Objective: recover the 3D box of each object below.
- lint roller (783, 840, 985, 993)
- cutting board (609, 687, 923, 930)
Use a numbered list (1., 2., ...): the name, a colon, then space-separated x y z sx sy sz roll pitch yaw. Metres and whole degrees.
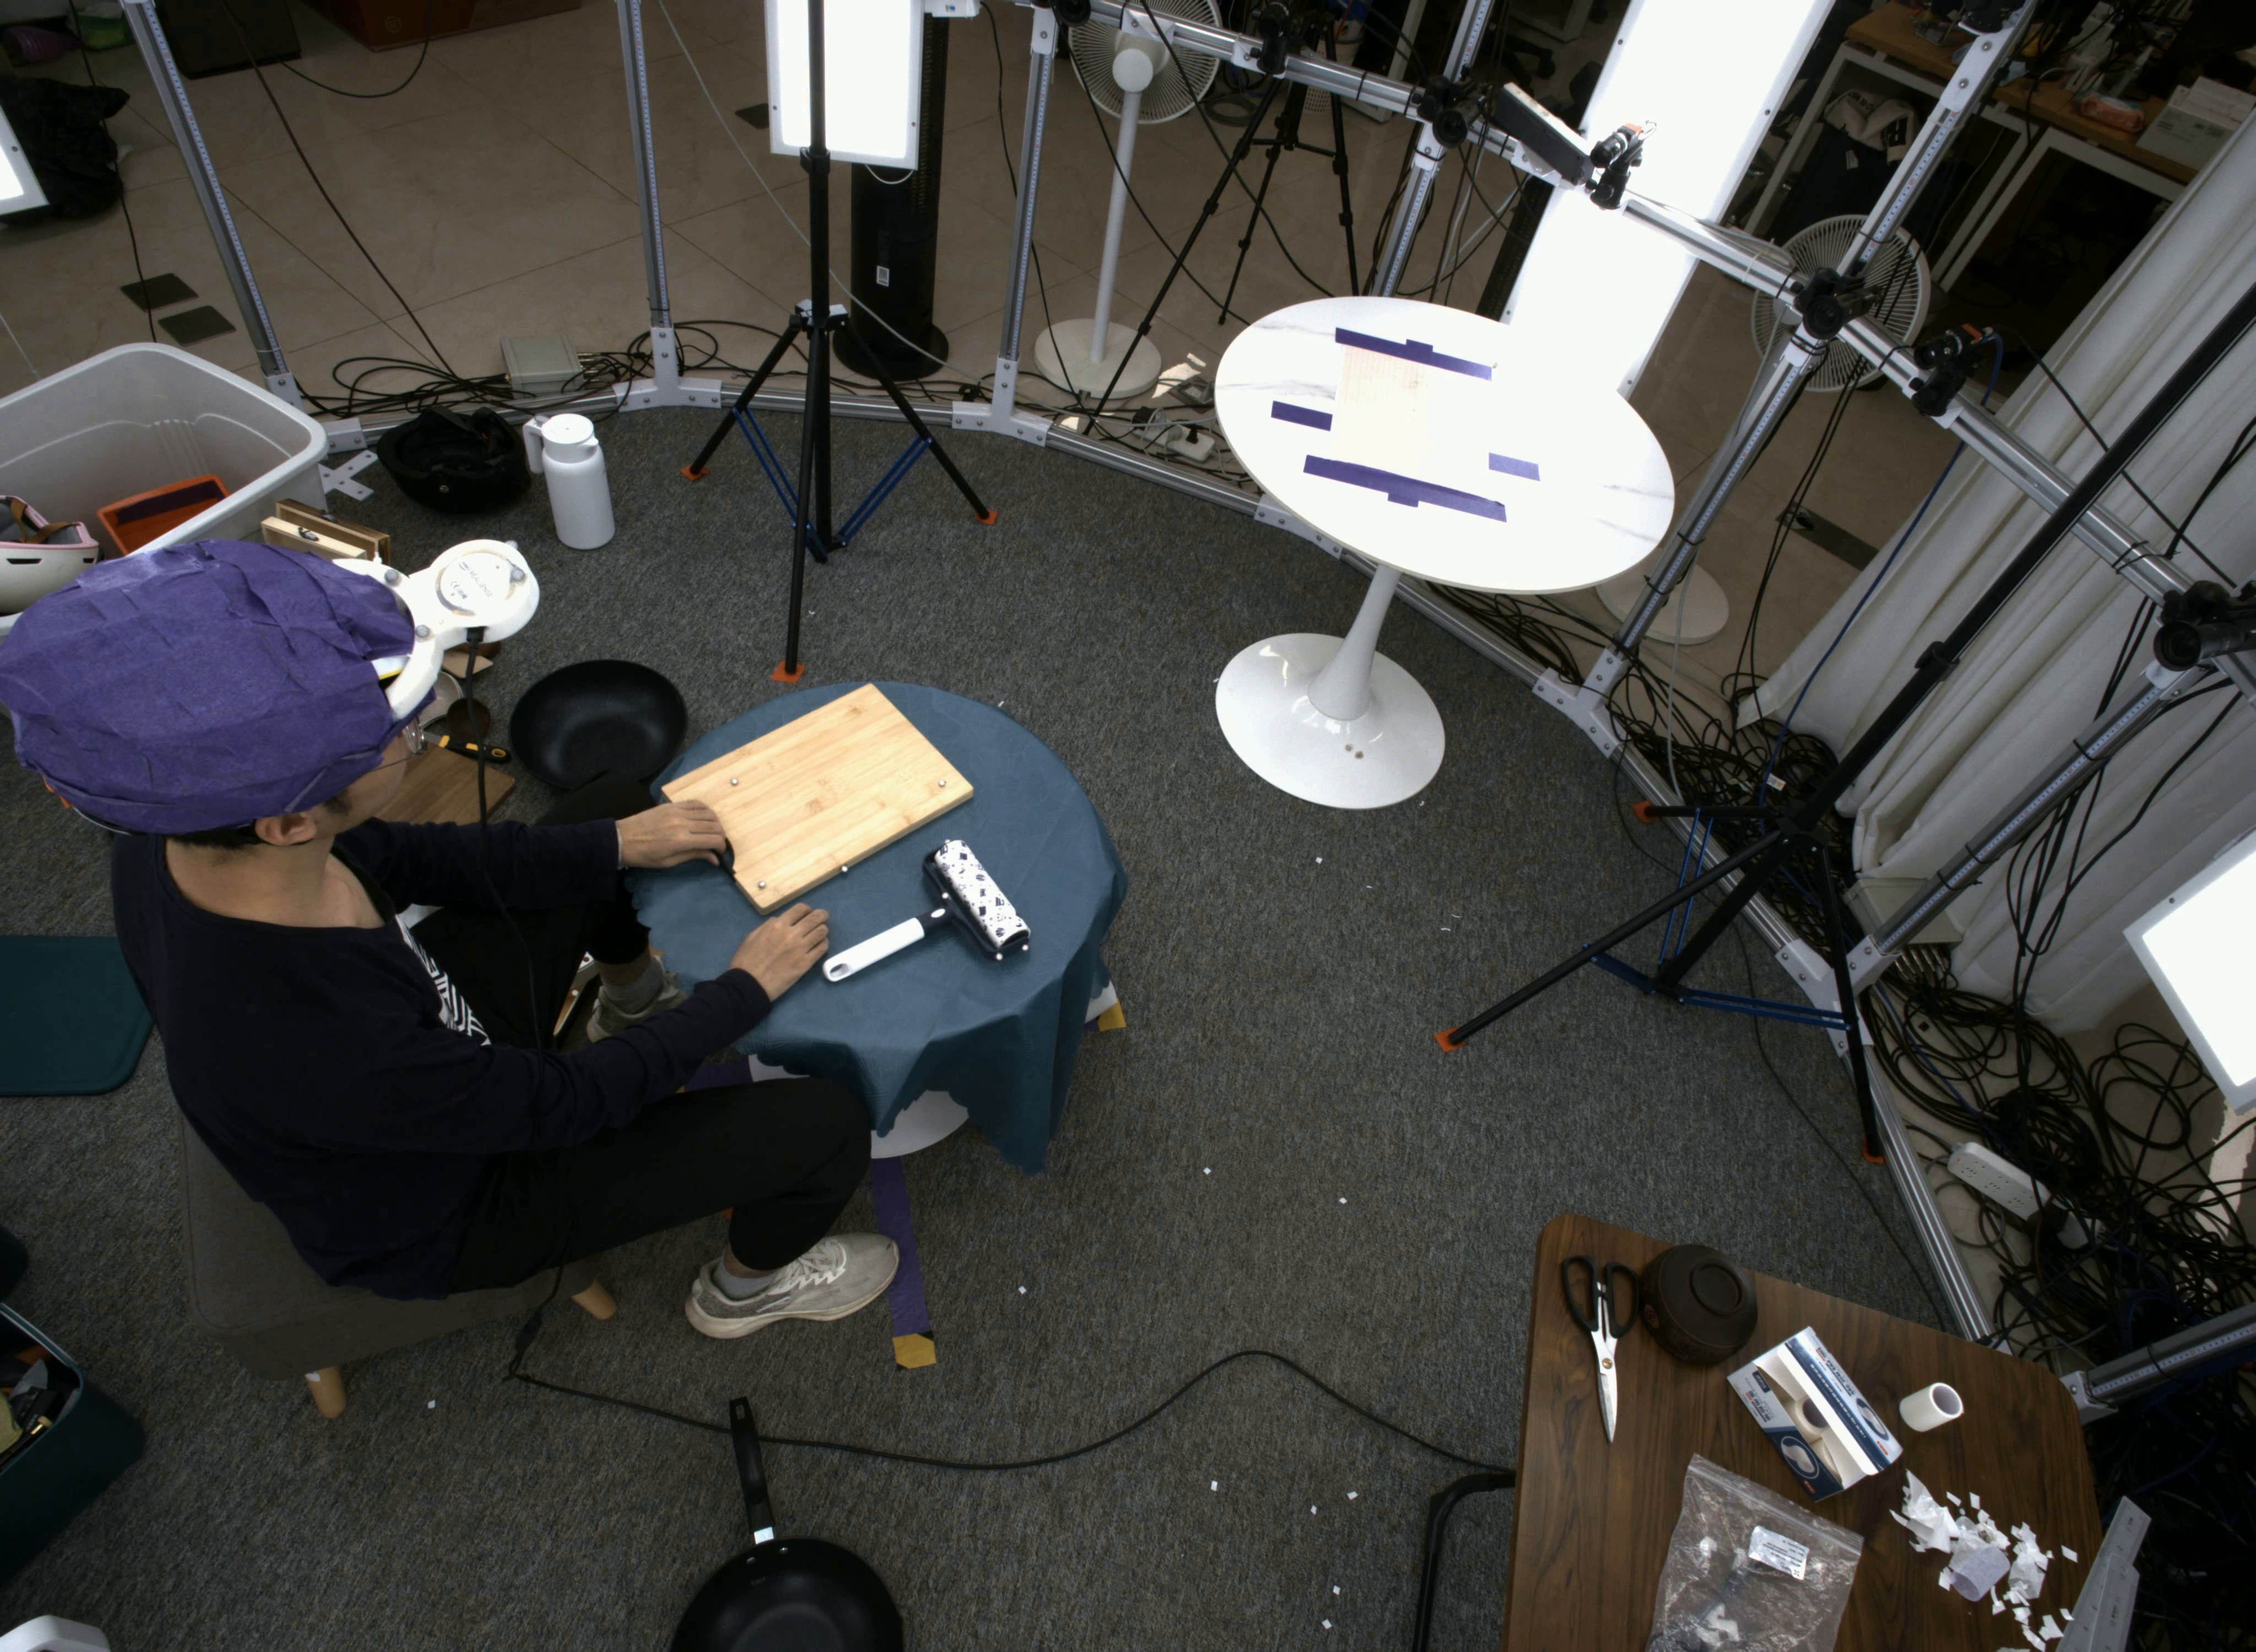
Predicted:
1. lint roller: -0.323 0.134 1.635 0.248 0.051 0.172 -31 67 -28
2. cutting board: -0.482 -0.035 1.736 0.245 0.024 0.349 42 55 17
